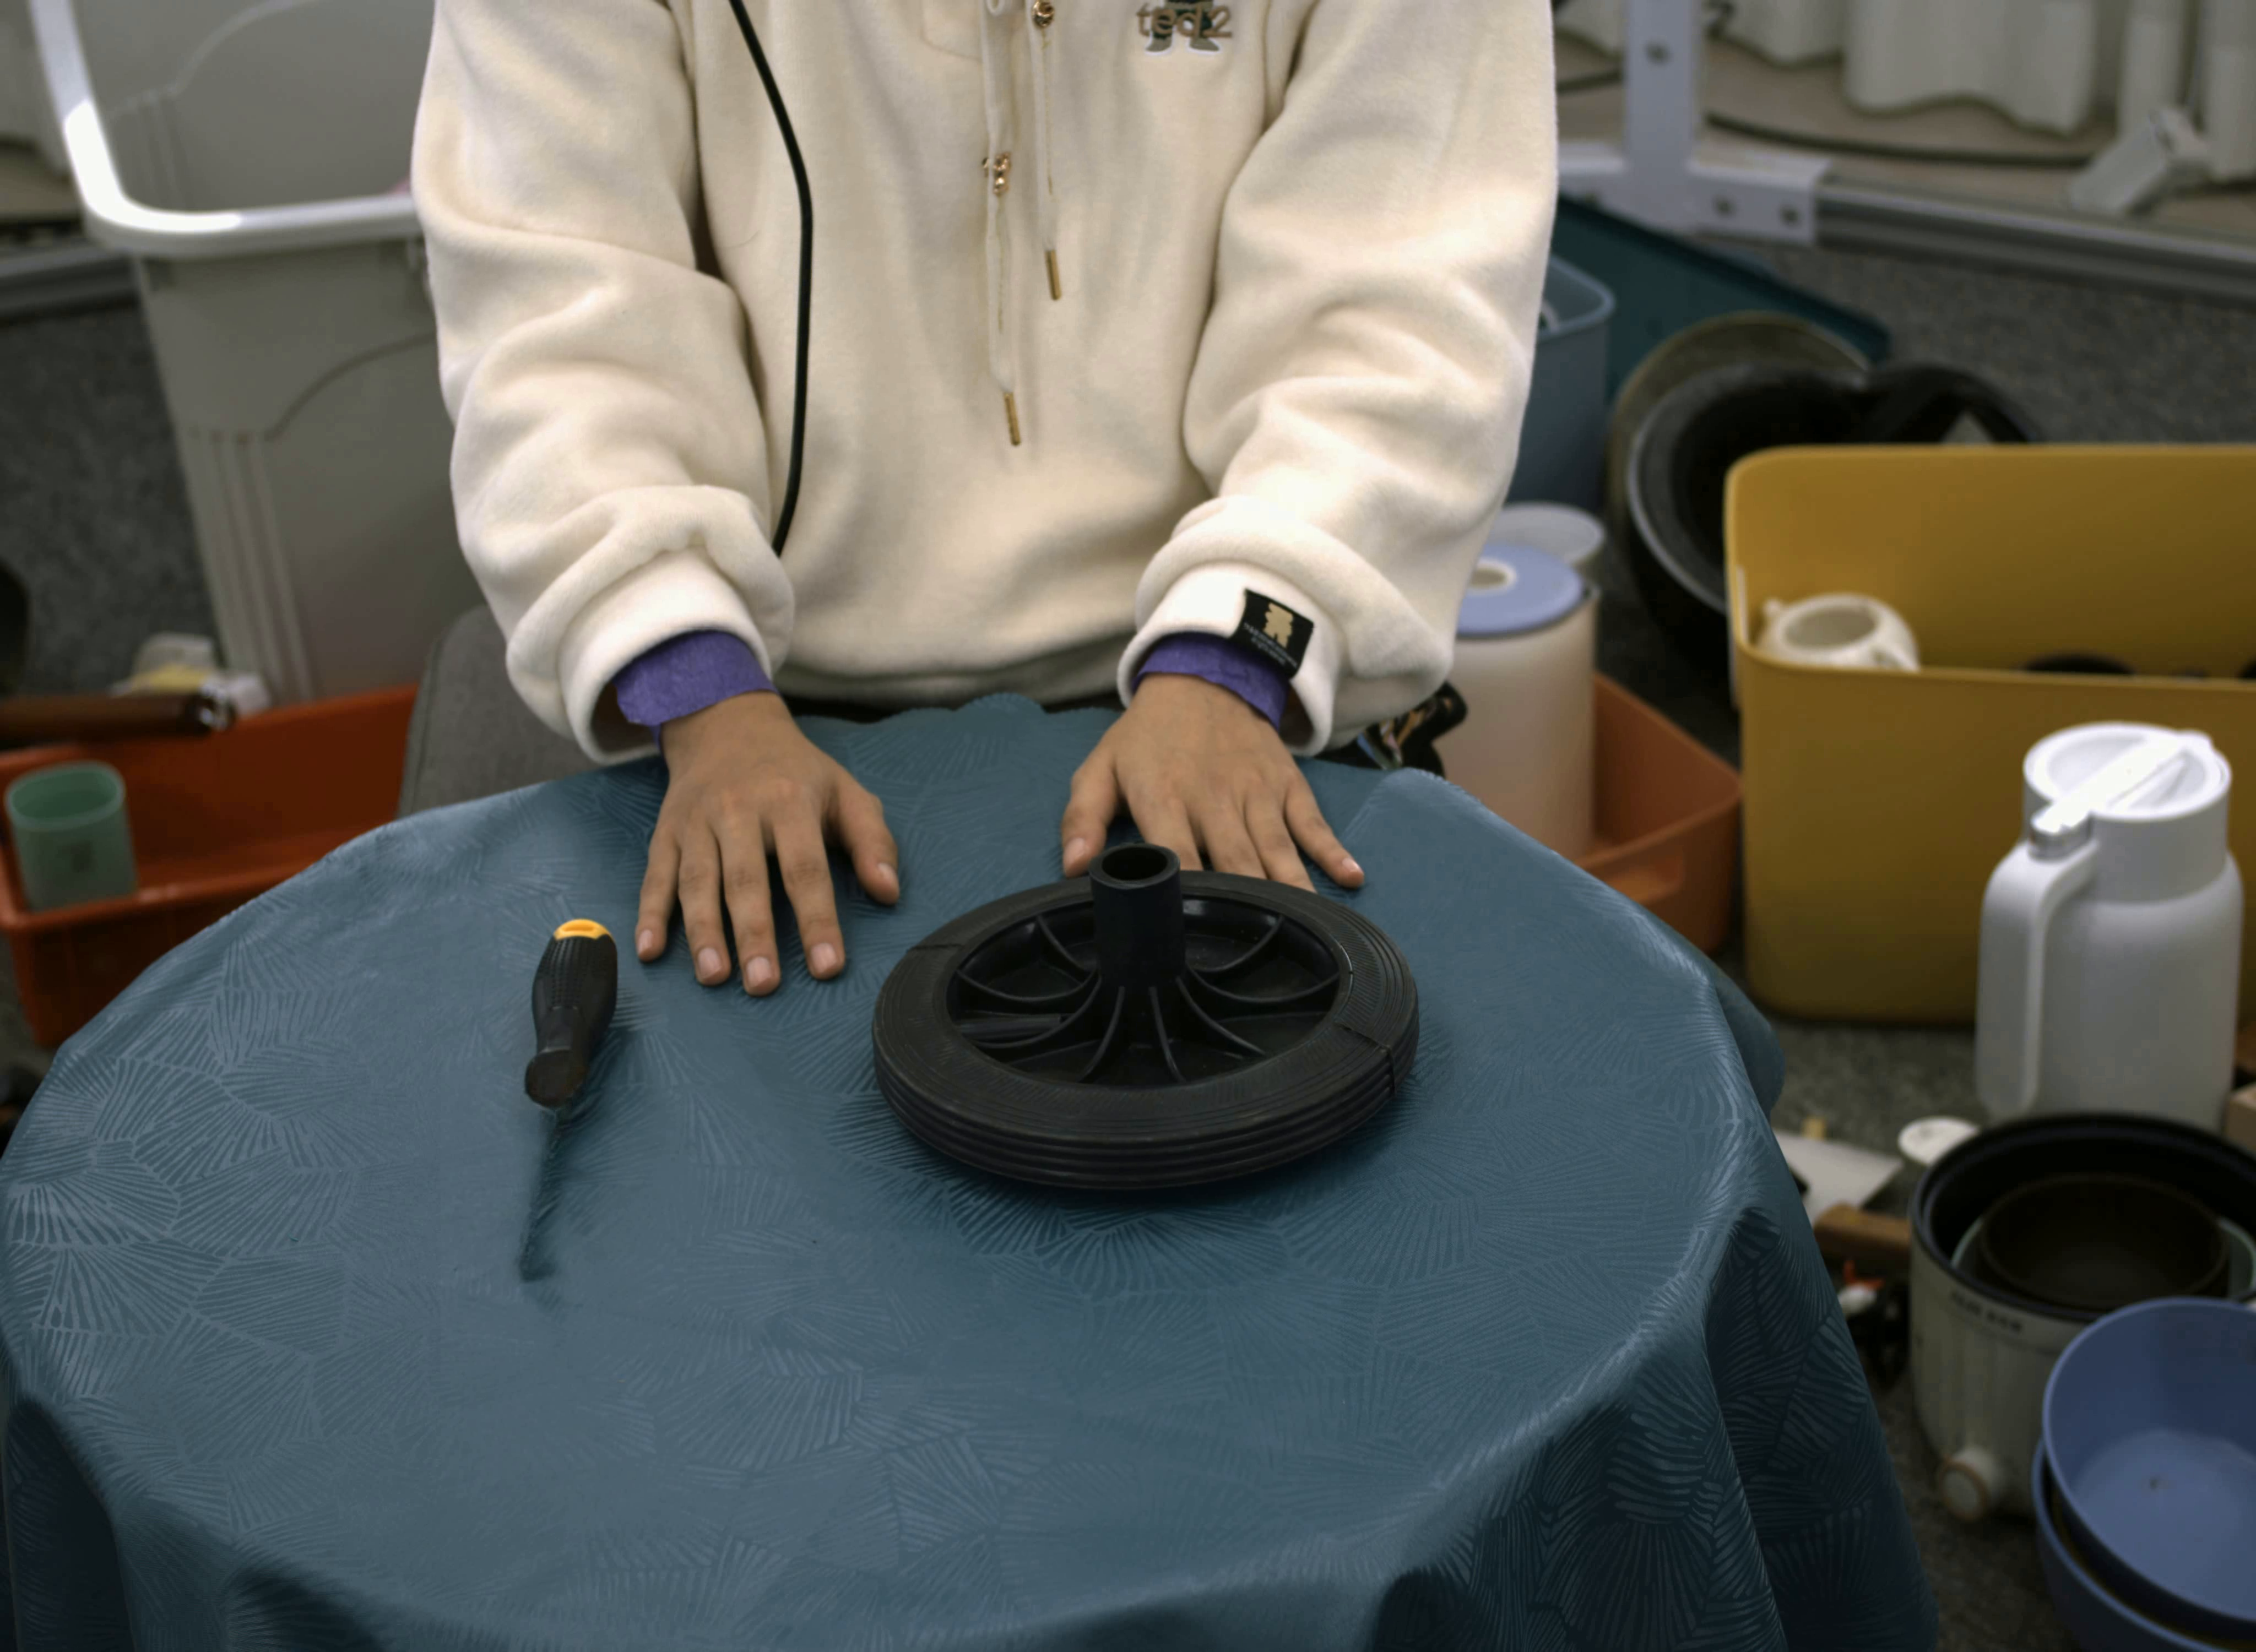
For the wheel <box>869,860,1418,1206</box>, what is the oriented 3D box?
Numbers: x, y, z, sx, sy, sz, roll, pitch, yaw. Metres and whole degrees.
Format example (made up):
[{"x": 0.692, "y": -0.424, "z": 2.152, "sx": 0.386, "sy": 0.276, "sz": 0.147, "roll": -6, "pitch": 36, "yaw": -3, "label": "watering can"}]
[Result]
[{"x": 0.003, "y": 0.053, "z": 1.913, "sx": 0.191, "sy": 0.078, "sz": 0.188, "roll": -18, "pitch": 30, "yaw": -21, "label": "wheel"}]

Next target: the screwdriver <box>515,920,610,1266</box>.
[{"x": -0.200, "y": 0.092, "z": 1.913, "sx": 0.031, "sy": 0.031, "sz": 0.201, "roll": -1, "pitch": 30, "yaw": 4, "label": "screwdriver"}]
